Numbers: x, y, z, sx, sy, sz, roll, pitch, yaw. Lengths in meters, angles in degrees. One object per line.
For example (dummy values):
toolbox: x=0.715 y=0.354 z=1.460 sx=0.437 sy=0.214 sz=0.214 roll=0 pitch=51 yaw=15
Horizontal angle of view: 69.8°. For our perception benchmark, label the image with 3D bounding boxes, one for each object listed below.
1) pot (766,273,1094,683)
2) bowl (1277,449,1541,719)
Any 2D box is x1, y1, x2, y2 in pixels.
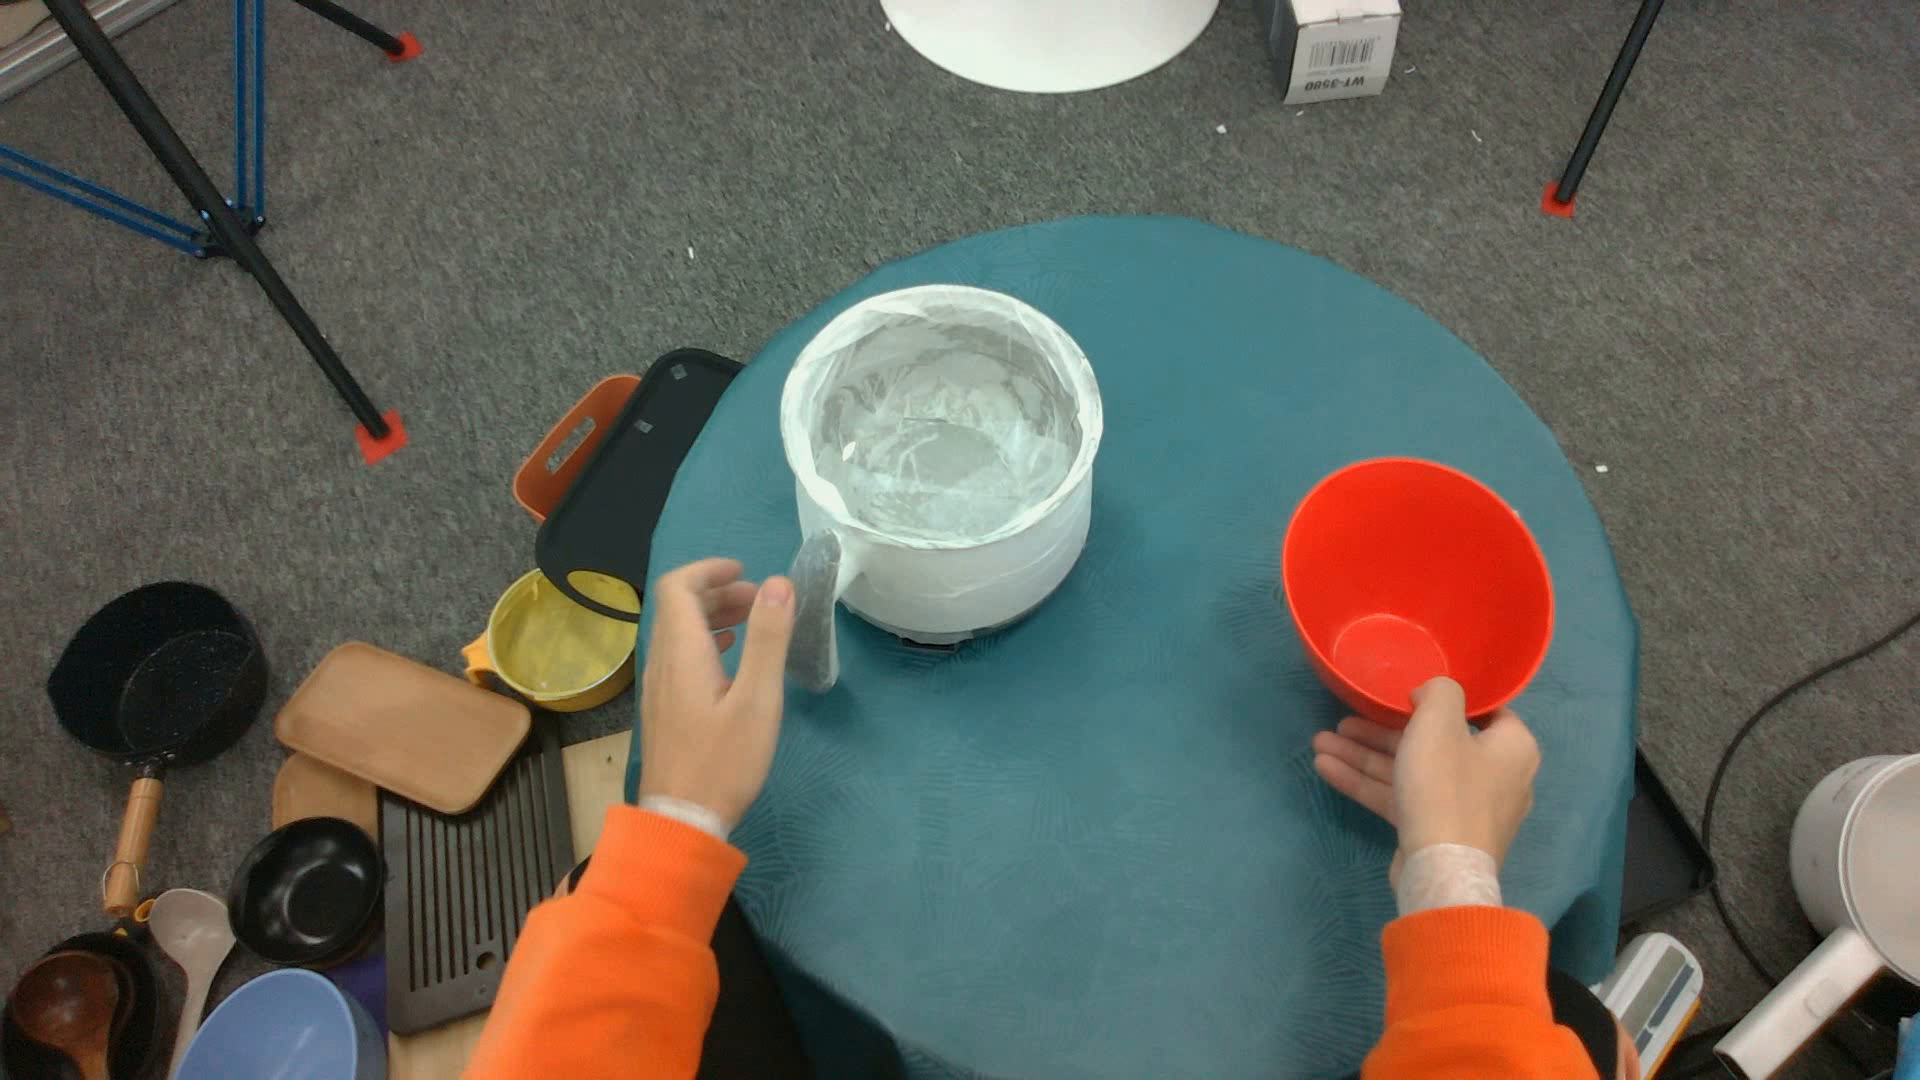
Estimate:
pot: x=-0.030 y=-0.026 z=0.794 sx=0.179 sy=0.136 sz=0.234 roll=30 pitch=64 yaw=17
bowl: x=0.242 y=0.037 z=0.779 sx=0.148 sy=0.104 sz=0.148 roll=1 pitch=59 yaw=-2
